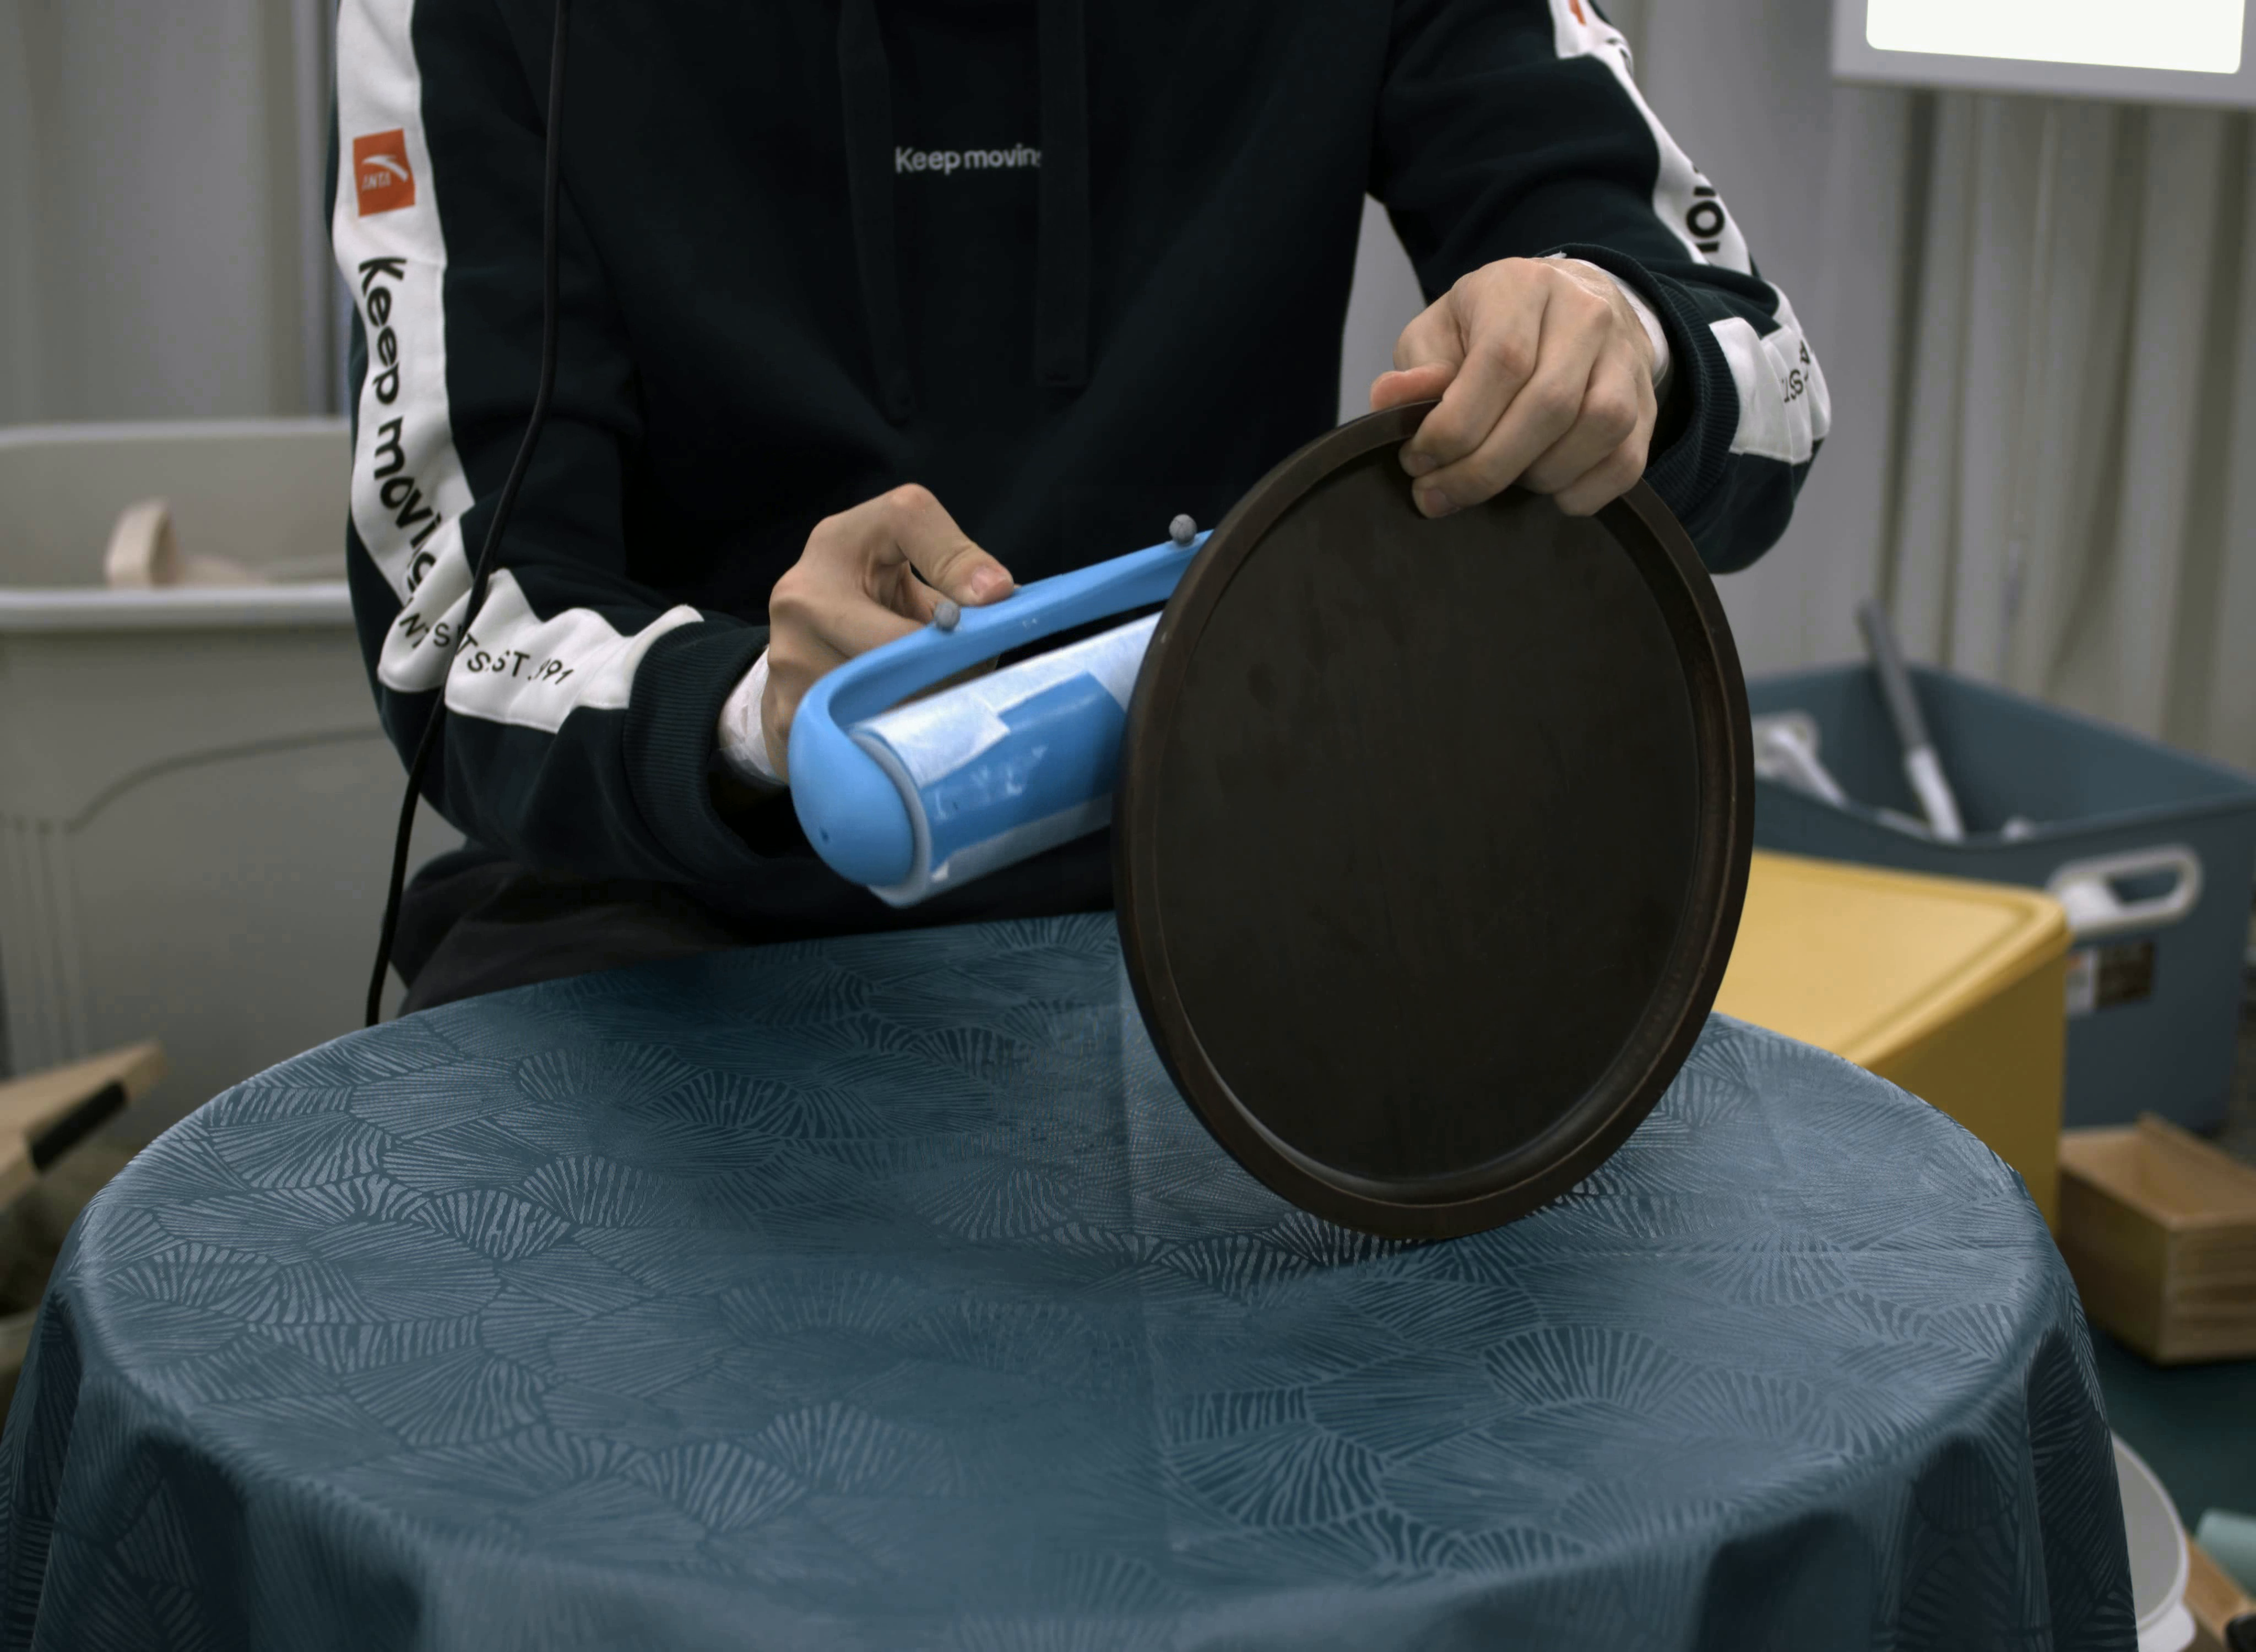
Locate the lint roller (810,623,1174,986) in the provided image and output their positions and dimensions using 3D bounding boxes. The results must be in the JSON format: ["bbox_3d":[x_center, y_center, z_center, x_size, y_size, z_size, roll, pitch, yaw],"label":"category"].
[{"bbox_3d":[-0.033,-0.020,1.608,0.229,0.068,0.178,-23,27,-37],"label":"lint roller"}]

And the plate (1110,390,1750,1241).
[{"bbox_3d":[0.092,-0.003,1.572,0.256,0.256,0.028,-13,13,-40],"label":"plate"}]
